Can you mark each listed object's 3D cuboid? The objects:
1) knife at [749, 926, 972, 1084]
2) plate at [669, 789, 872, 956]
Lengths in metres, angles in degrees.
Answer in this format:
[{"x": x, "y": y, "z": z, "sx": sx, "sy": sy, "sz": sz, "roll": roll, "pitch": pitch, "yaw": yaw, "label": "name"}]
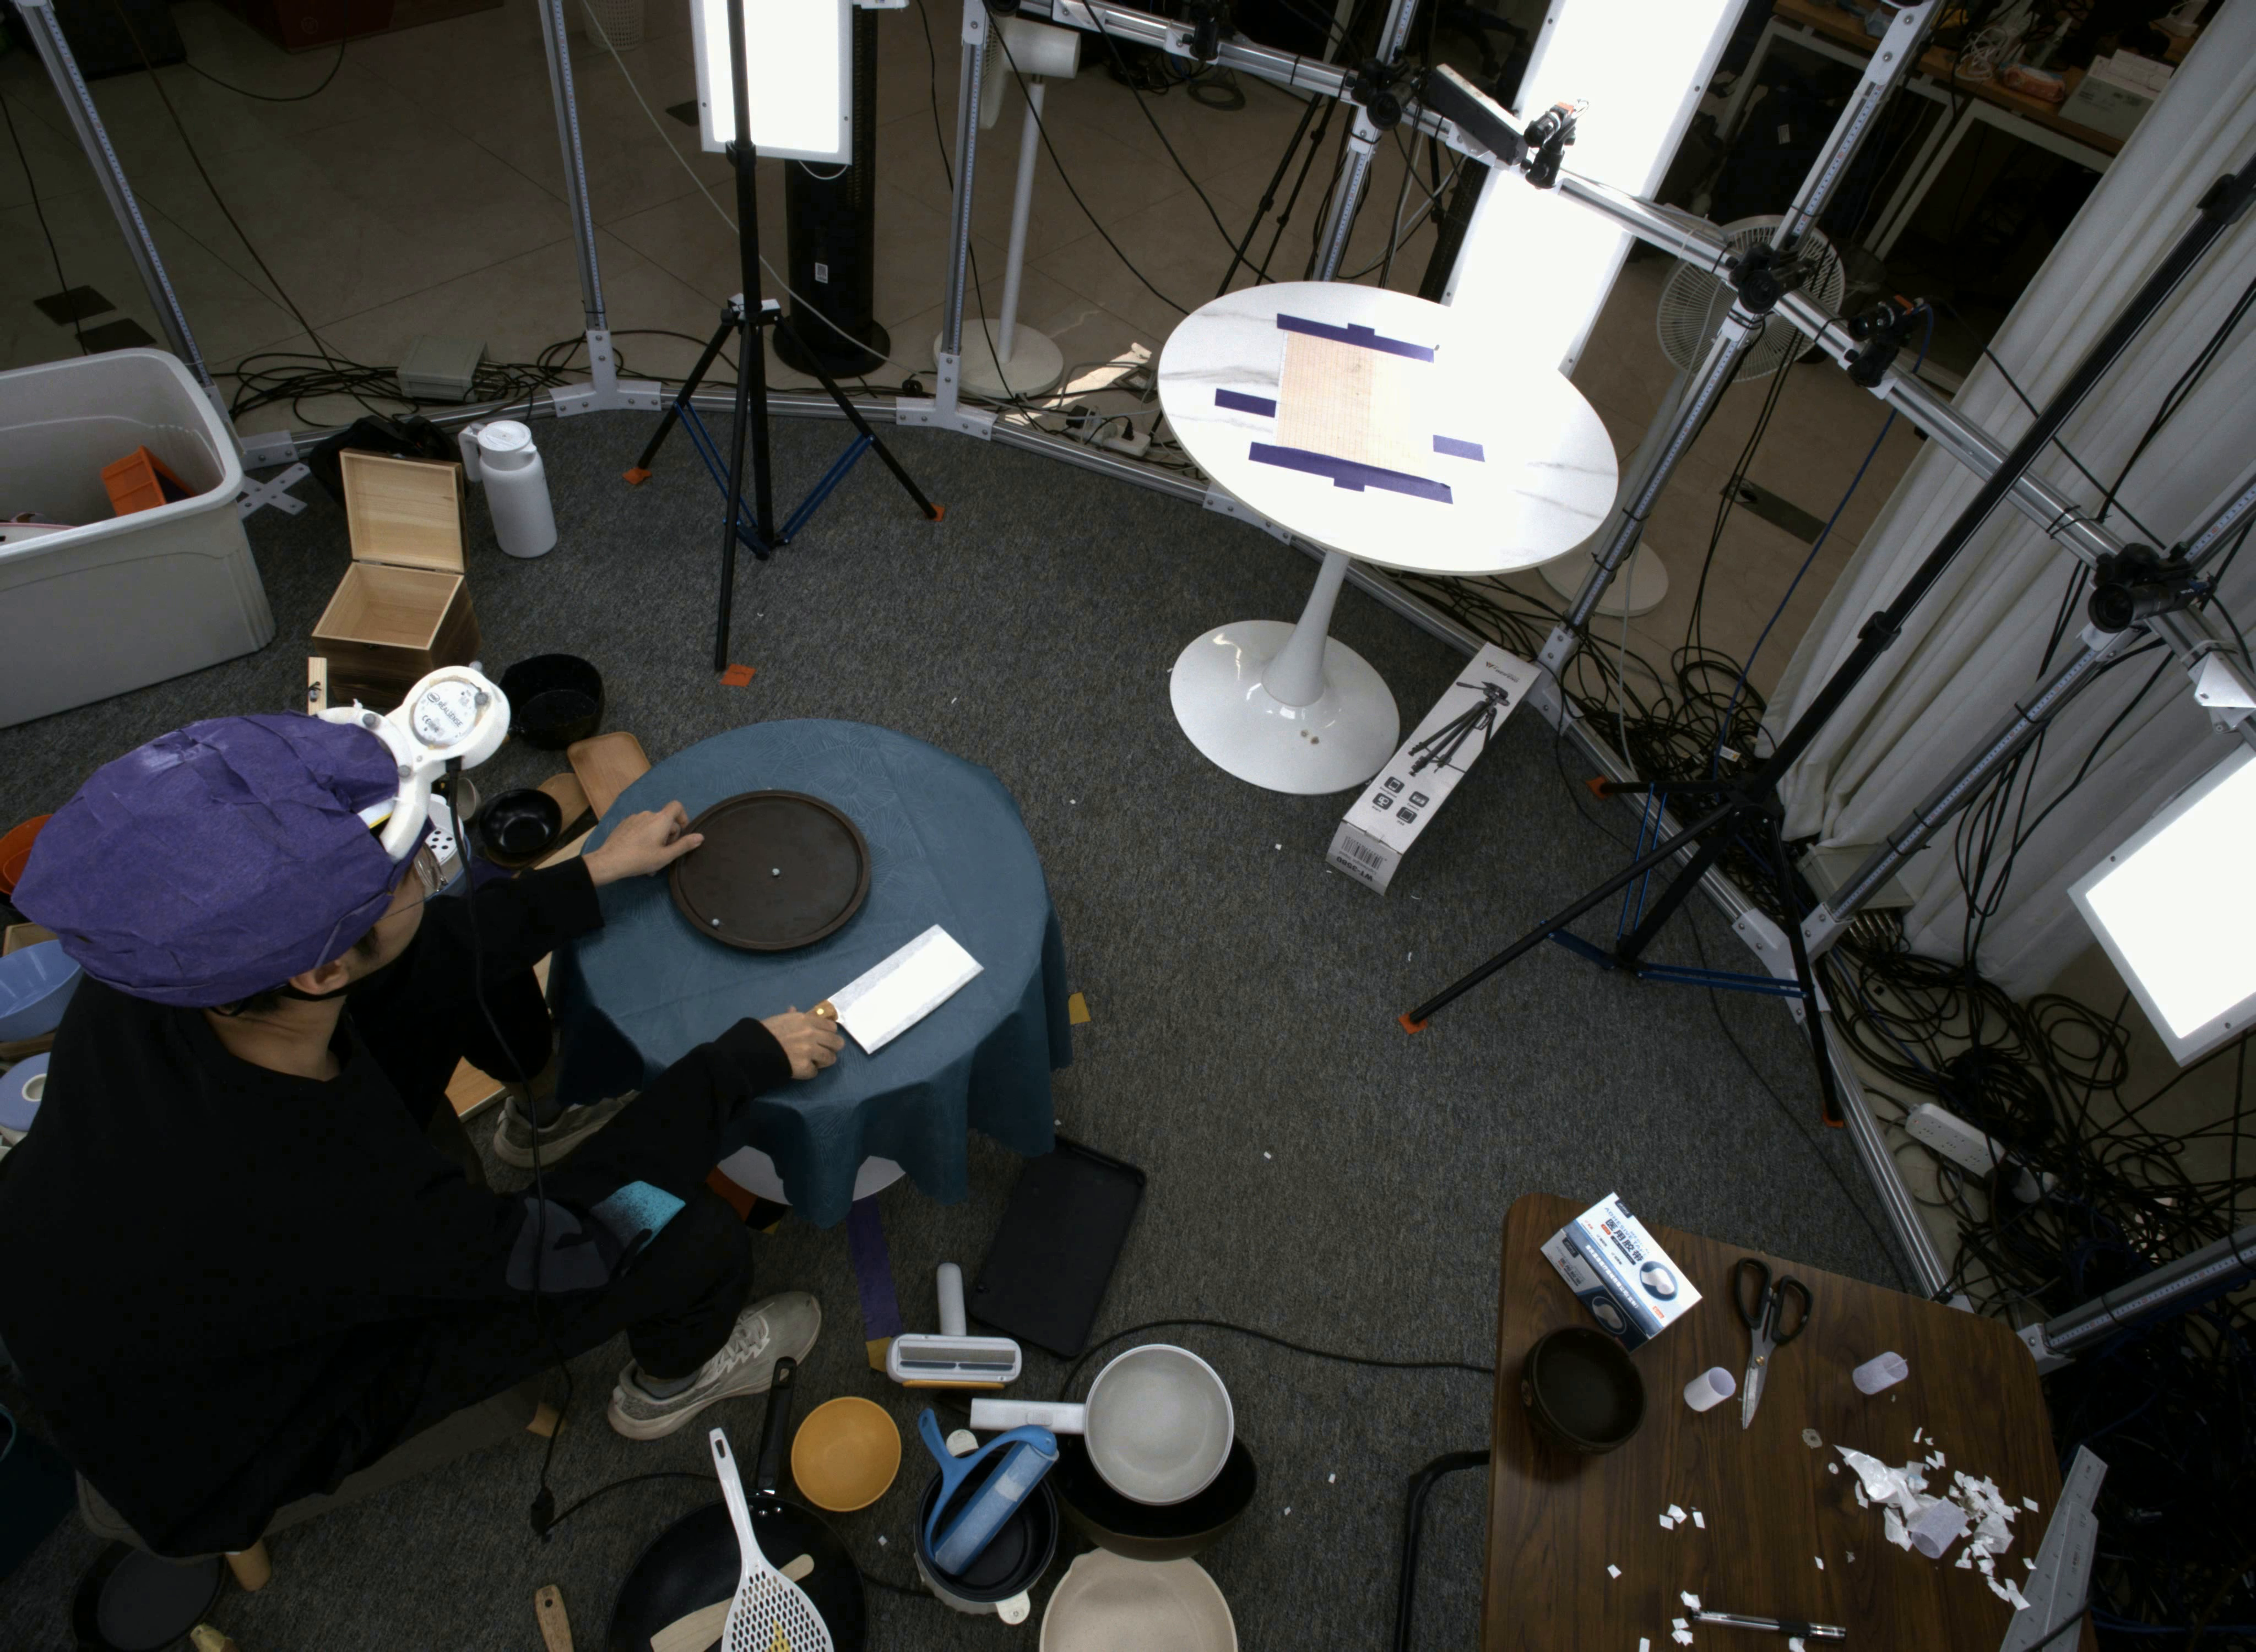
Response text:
[{"x": -0.312, "y": 0.223, "z": 1.567, "sx": 0.091, "sy": 0.021, "sz": 0.306, "roll": 42, "pitch": 52, "yaw": 15, "label": "knife"}, {"x": -0.454, "y": 0.056, "z": 1.648, "sx": 0.255, "sy": 0.029, "sz": 0.250, "roll": 9, "pitch": 52, "yaw": -10, "label": "plate"}]
